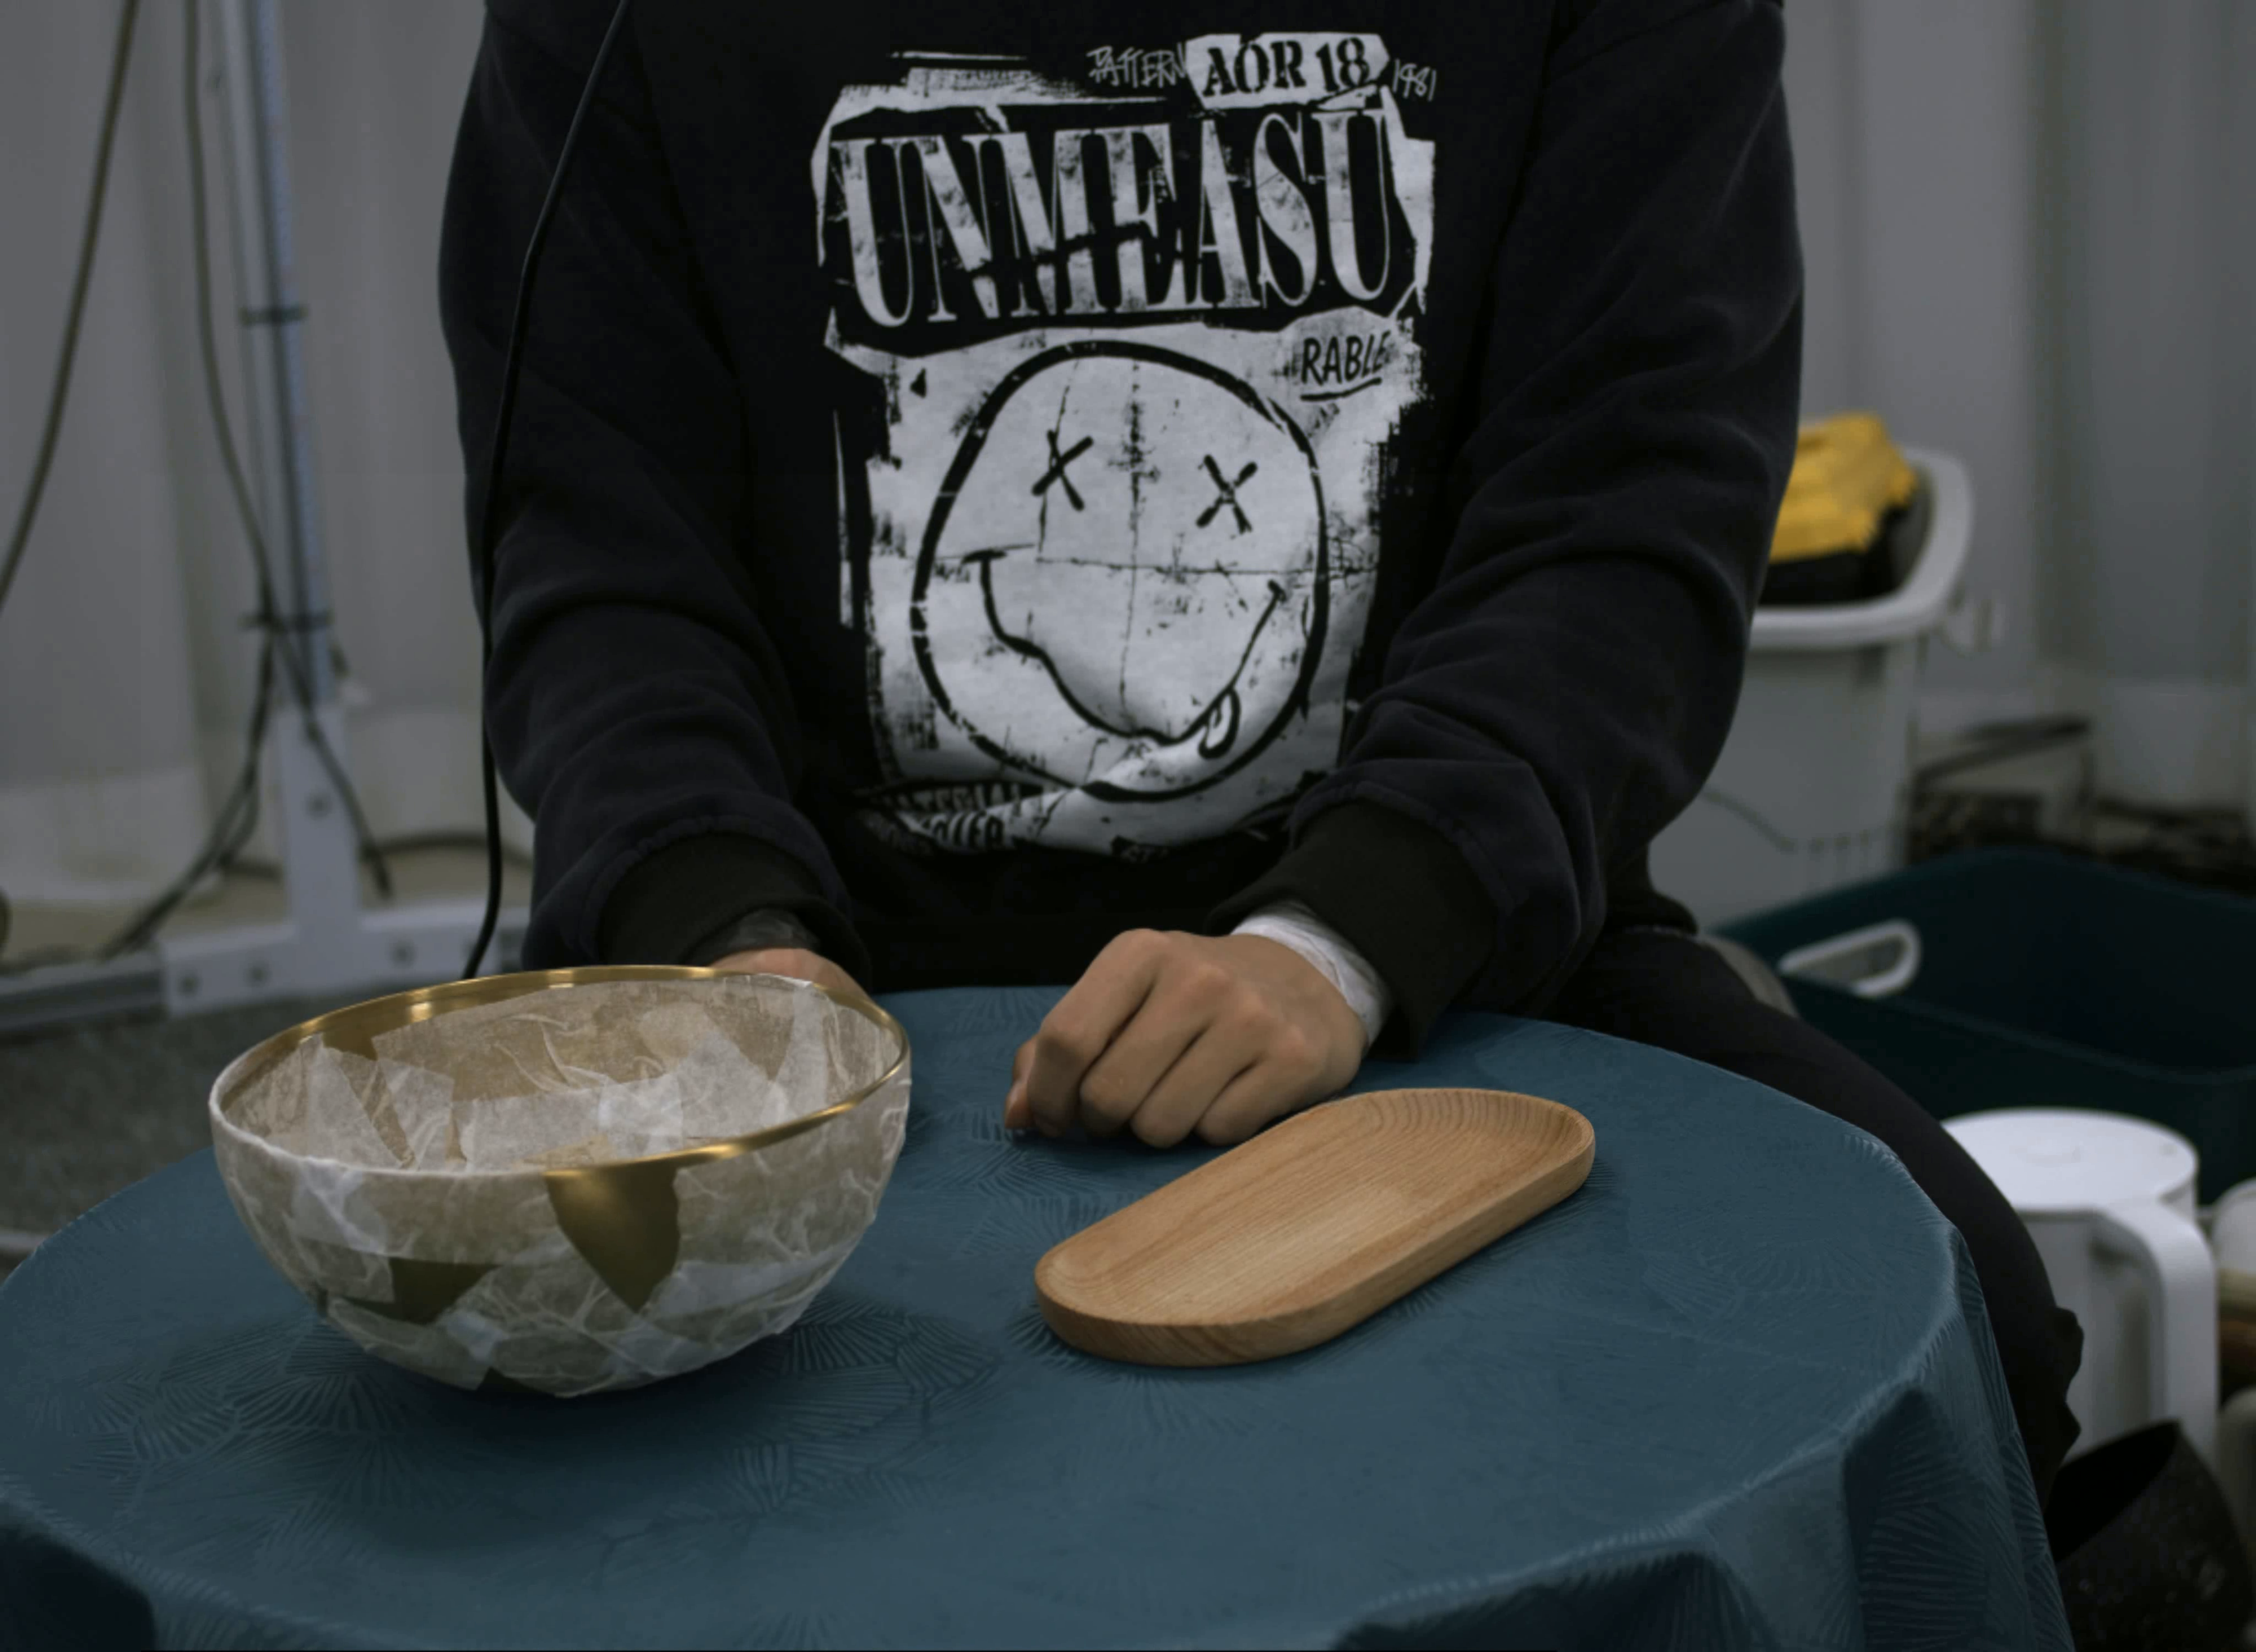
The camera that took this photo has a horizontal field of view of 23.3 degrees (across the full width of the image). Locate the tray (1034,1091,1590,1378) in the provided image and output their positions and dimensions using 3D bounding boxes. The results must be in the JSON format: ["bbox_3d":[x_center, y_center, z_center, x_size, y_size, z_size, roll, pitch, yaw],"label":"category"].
[{"bbox_3d":[0.058,0.121,1.650,0.102,0.020,0.231,4,18,33],"label":"tray"}]

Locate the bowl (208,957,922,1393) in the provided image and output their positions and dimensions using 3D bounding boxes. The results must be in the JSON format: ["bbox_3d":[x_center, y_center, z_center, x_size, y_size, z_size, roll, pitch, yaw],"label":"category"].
[{"bbox_3d":[-0.156,0.109,1.583,0.214,0.094,0.216,-4,14,1],"label":"bowl"}]
